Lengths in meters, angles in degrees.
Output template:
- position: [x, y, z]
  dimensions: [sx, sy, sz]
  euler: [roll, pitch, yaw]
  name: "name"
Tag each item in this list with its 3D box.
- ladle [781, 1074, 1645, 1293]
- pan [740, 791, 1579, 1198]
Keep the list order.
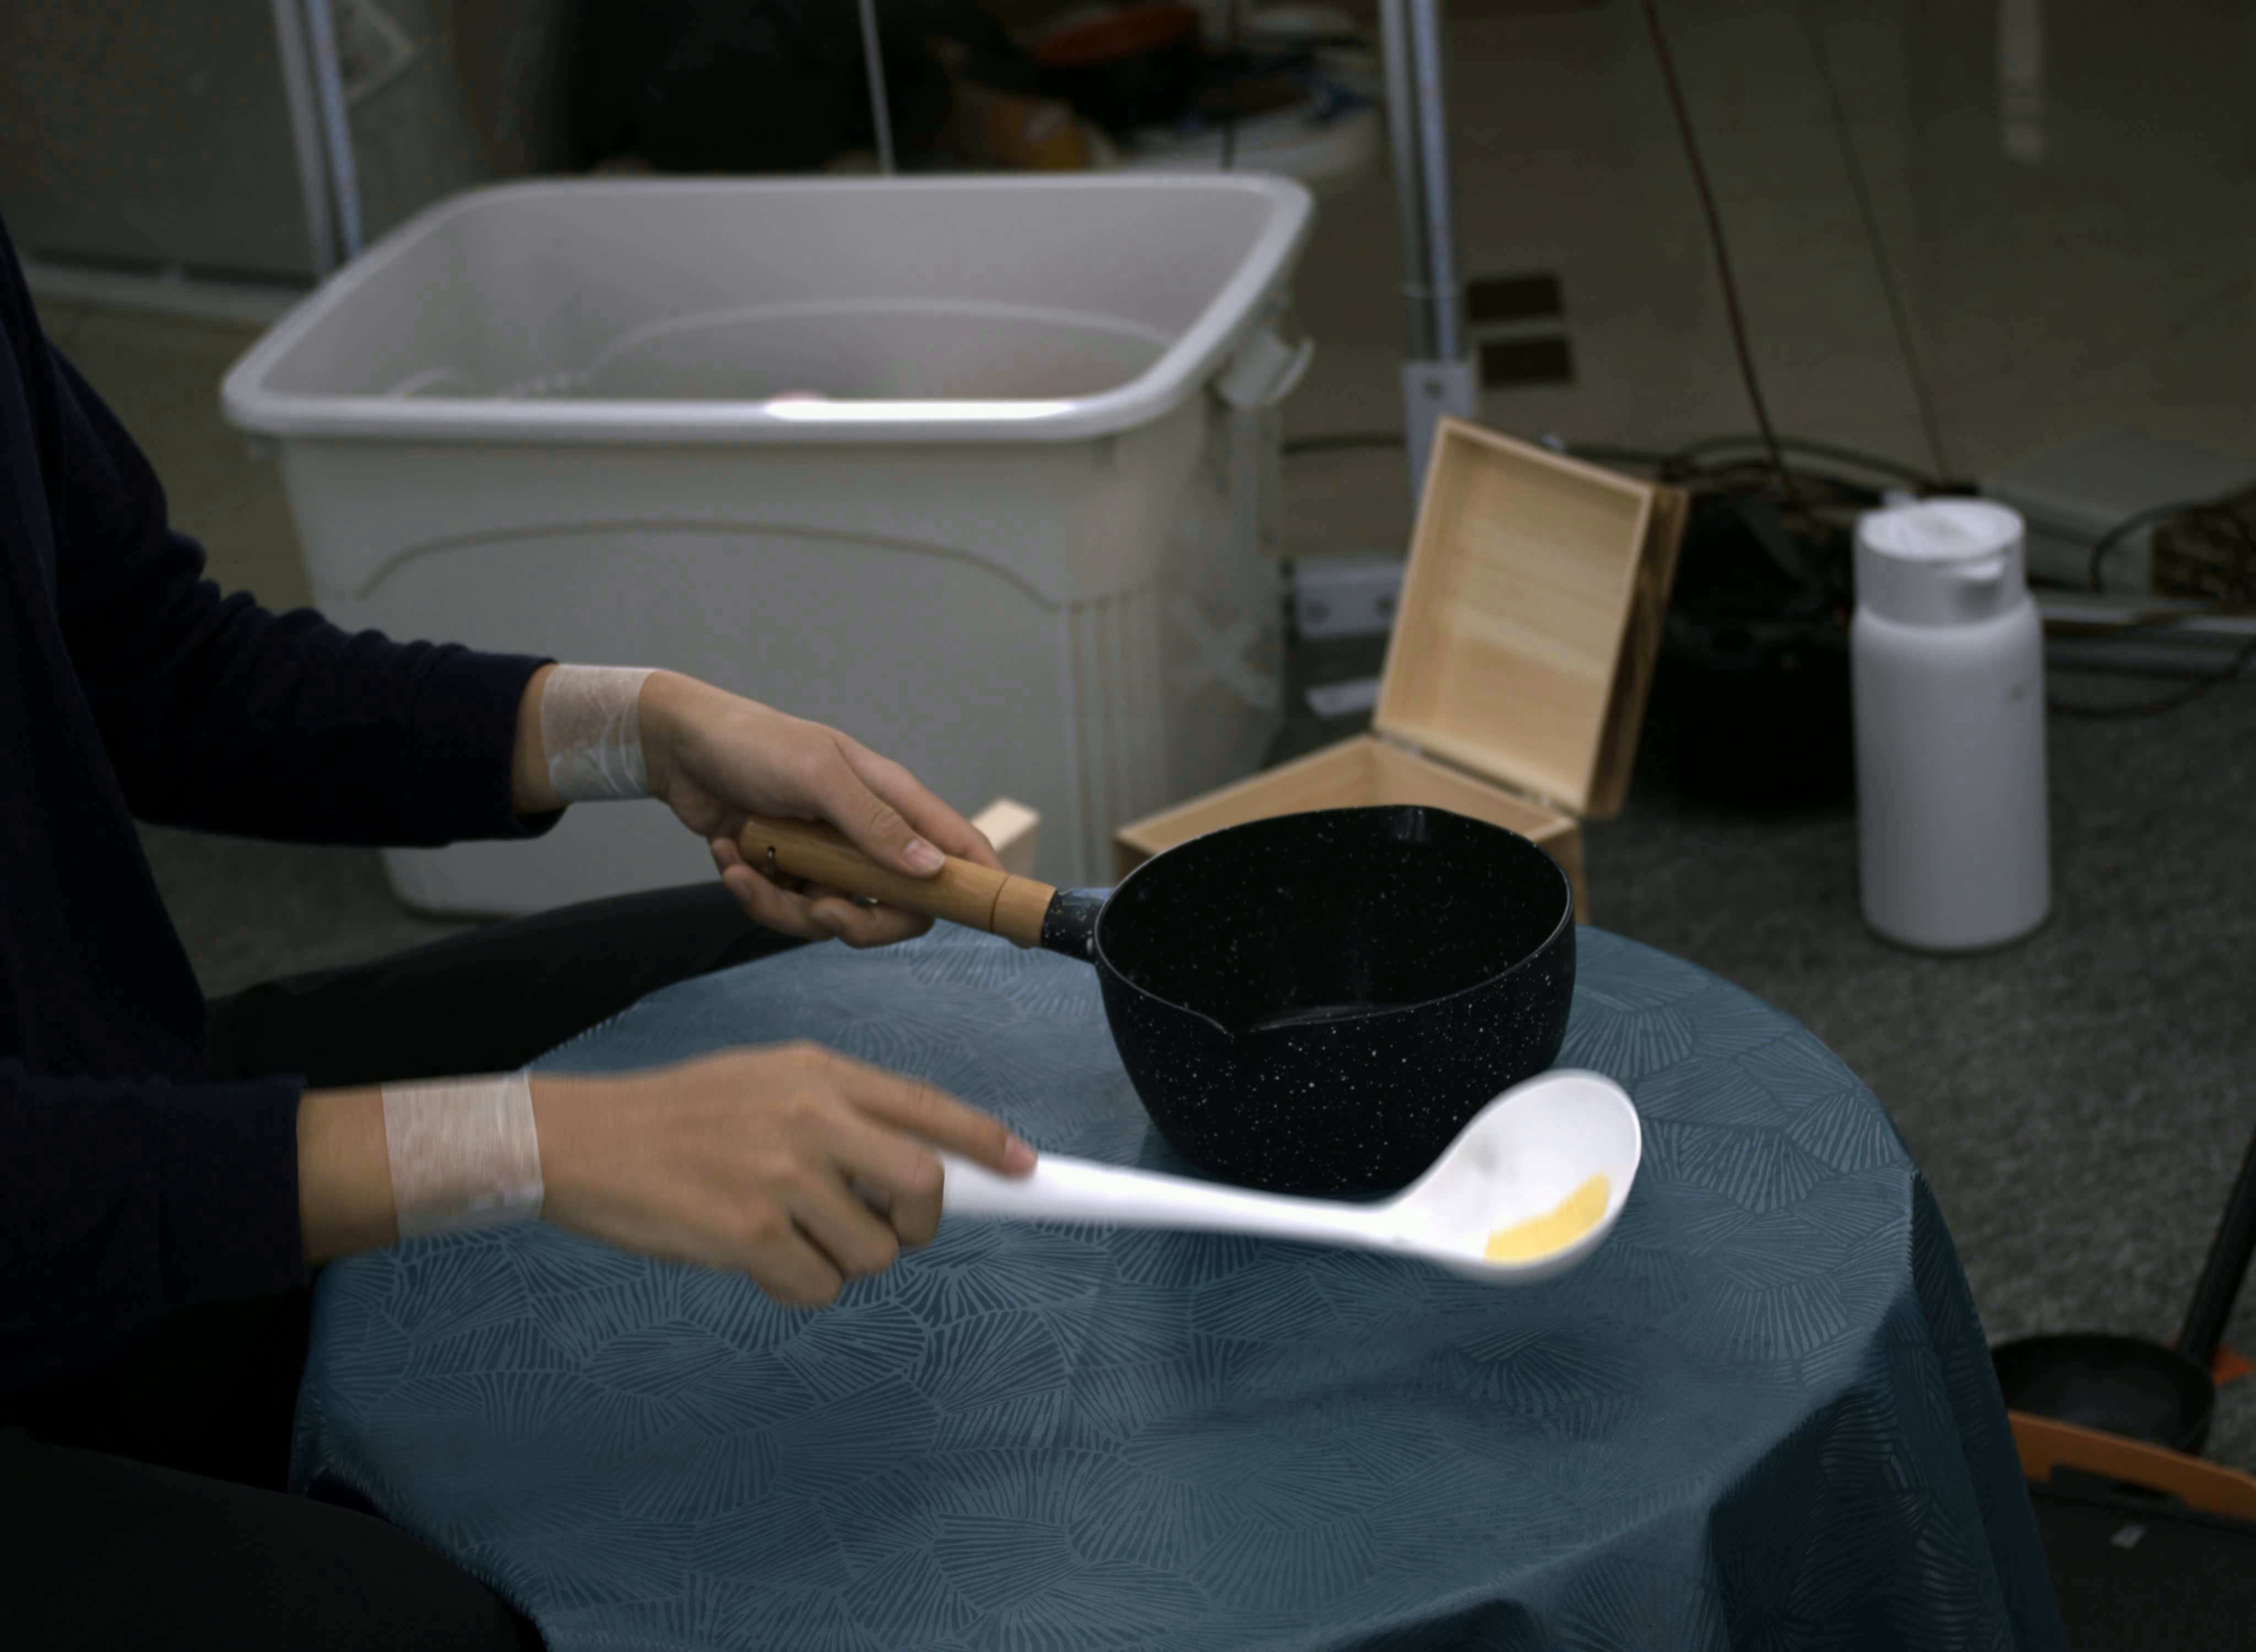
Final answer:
- position: [0.029, 0.118, 1.962]
  dimensions: [0.293, 0.071, 0.088]
  euler: [5, 48, -8]
  name: "ladle"
- position: [0.008, 0.053, 2.199]
  dimensions: [0.342, 0.110, 0.204]
  euler: [6, 29, 21]
  name: "pan"
